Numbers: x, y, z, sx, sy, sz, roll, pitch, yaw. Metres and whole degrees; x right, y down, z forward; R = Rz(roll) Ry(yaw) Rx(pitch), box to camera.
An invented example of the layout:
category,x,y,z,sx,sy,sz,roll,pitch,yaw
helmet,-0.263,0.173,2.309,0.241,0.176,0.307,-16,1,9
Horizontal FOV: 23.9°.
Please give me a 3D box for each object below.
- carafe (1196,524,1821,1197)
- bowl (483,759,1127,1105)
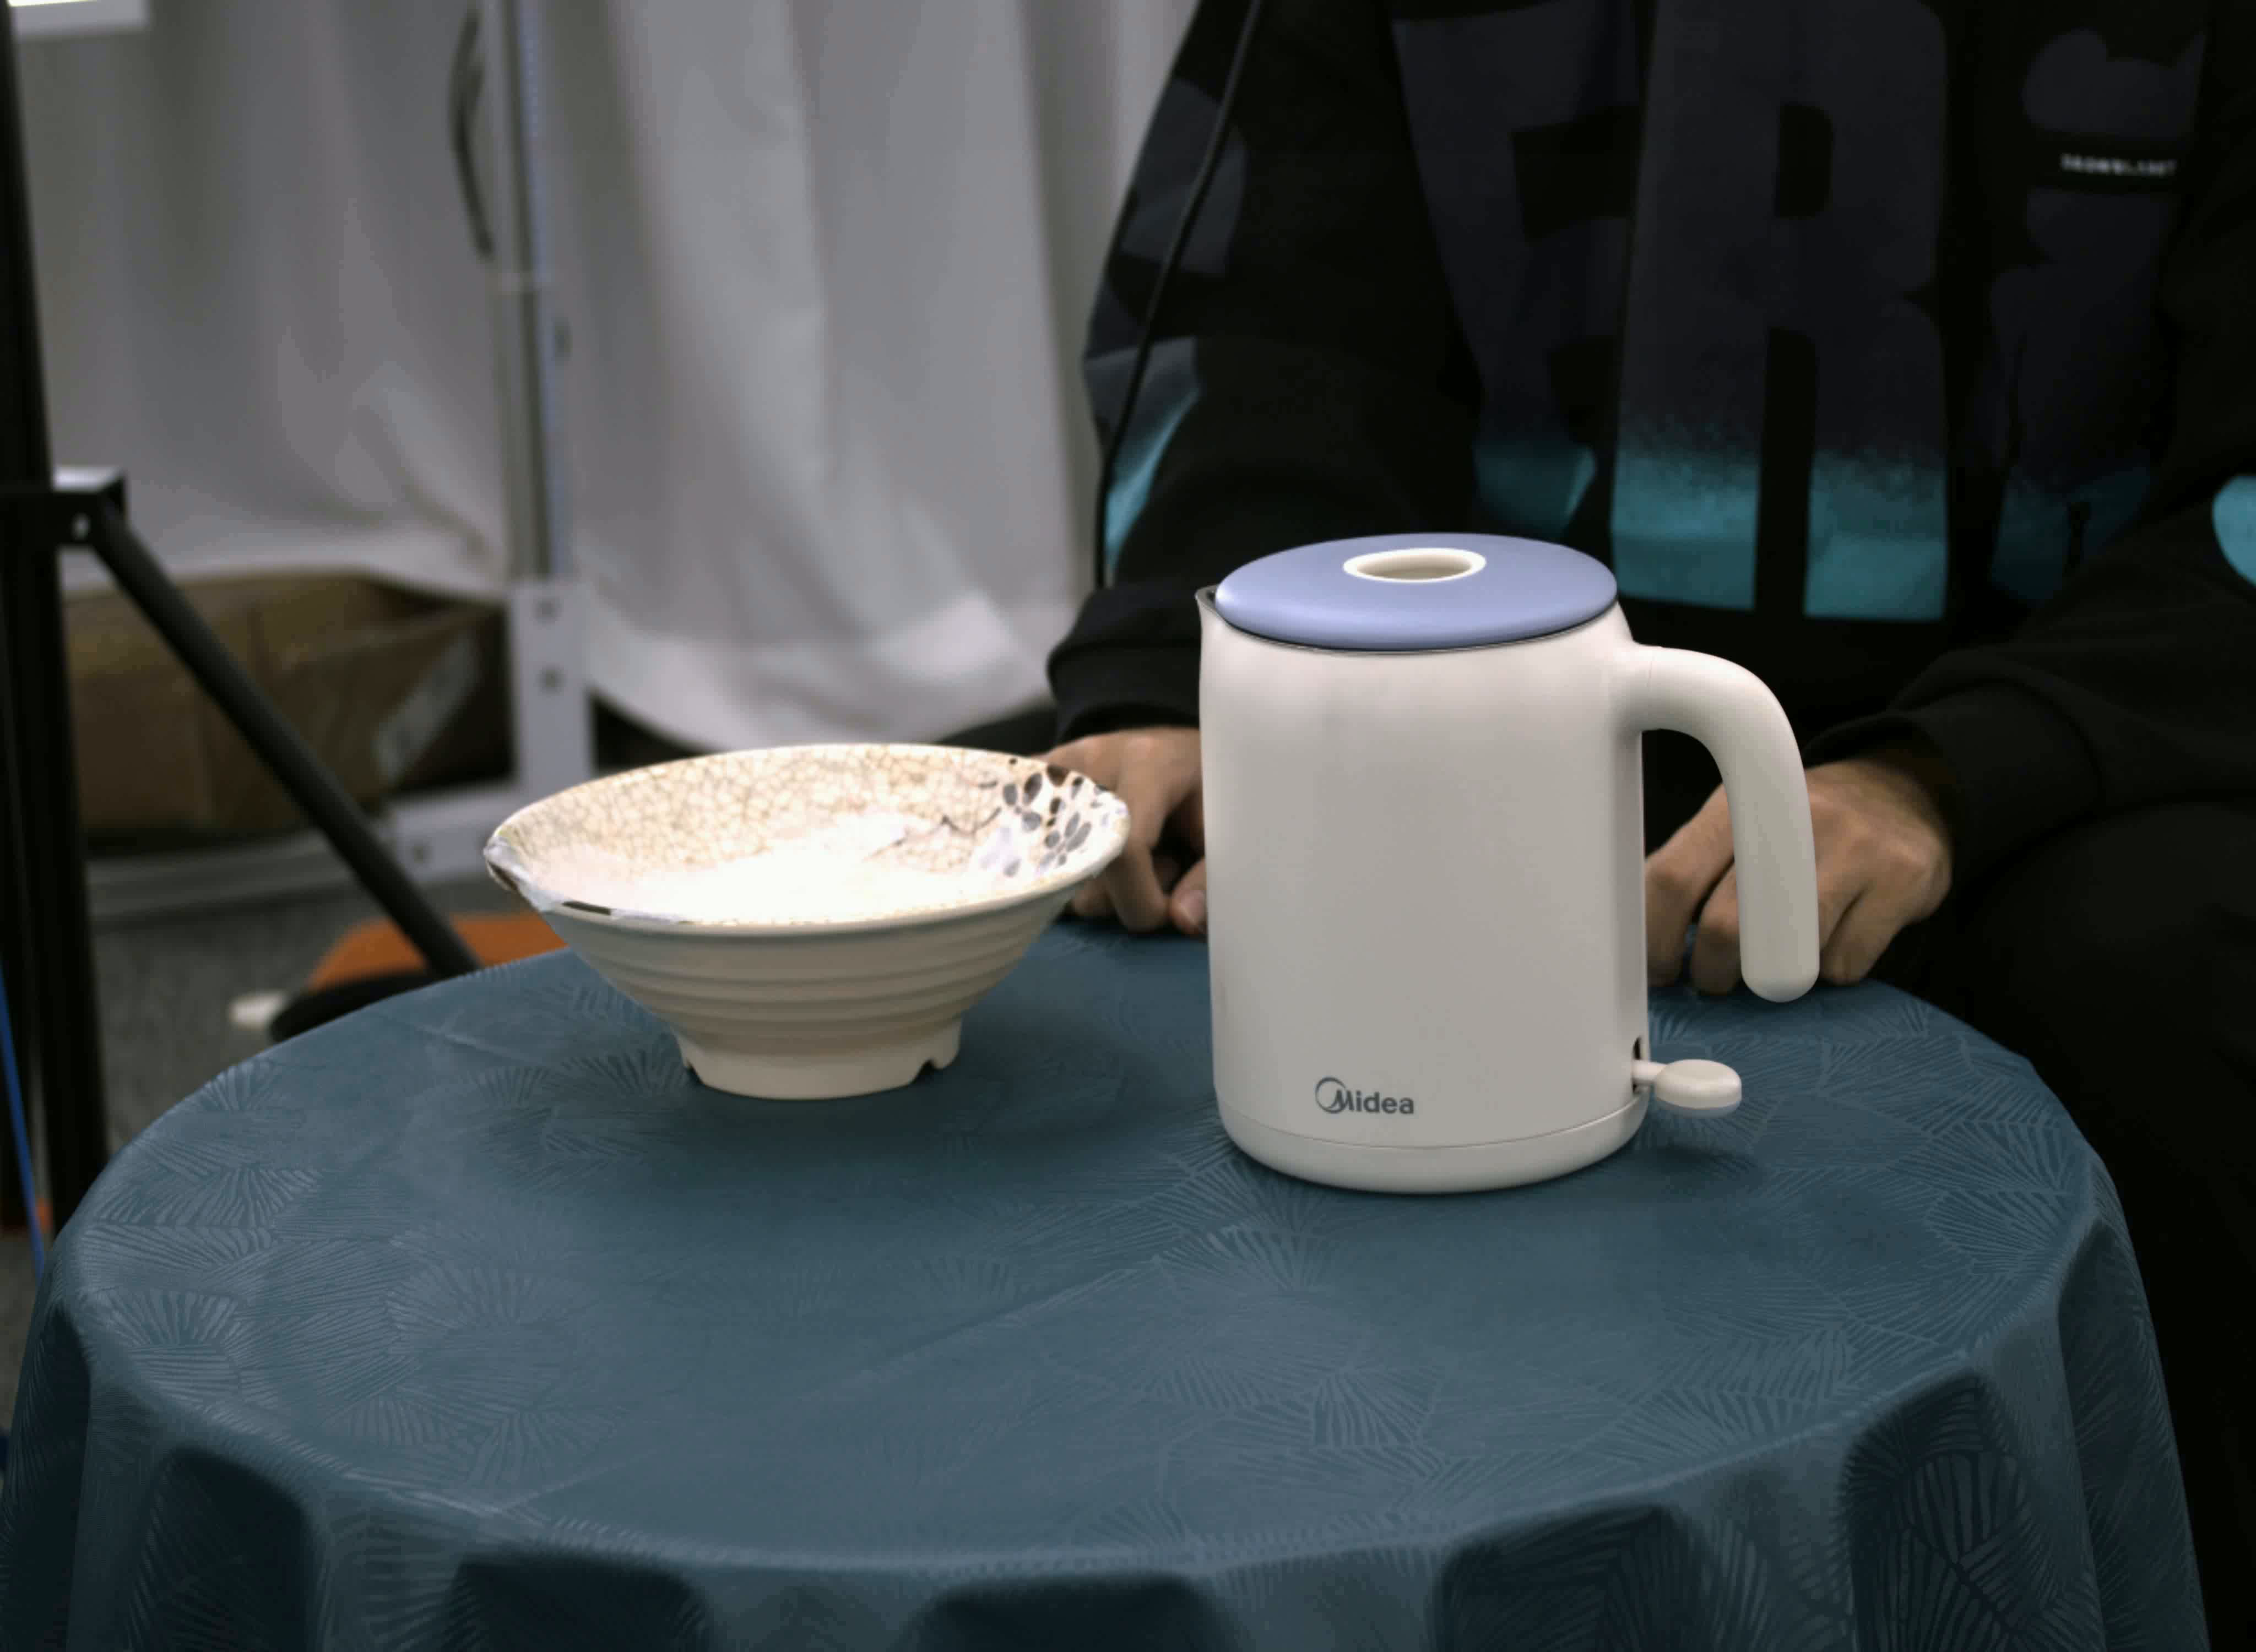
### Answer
category,x,y,z,sx,sy,sz,roll,pitch,yaw
carafe,0.111,0.012,1.568,0.193,0.182,0.131,6,18,20
bowl,-0.101,0.039,1.683,0.203,0.078,0.205,-1,13,-1
